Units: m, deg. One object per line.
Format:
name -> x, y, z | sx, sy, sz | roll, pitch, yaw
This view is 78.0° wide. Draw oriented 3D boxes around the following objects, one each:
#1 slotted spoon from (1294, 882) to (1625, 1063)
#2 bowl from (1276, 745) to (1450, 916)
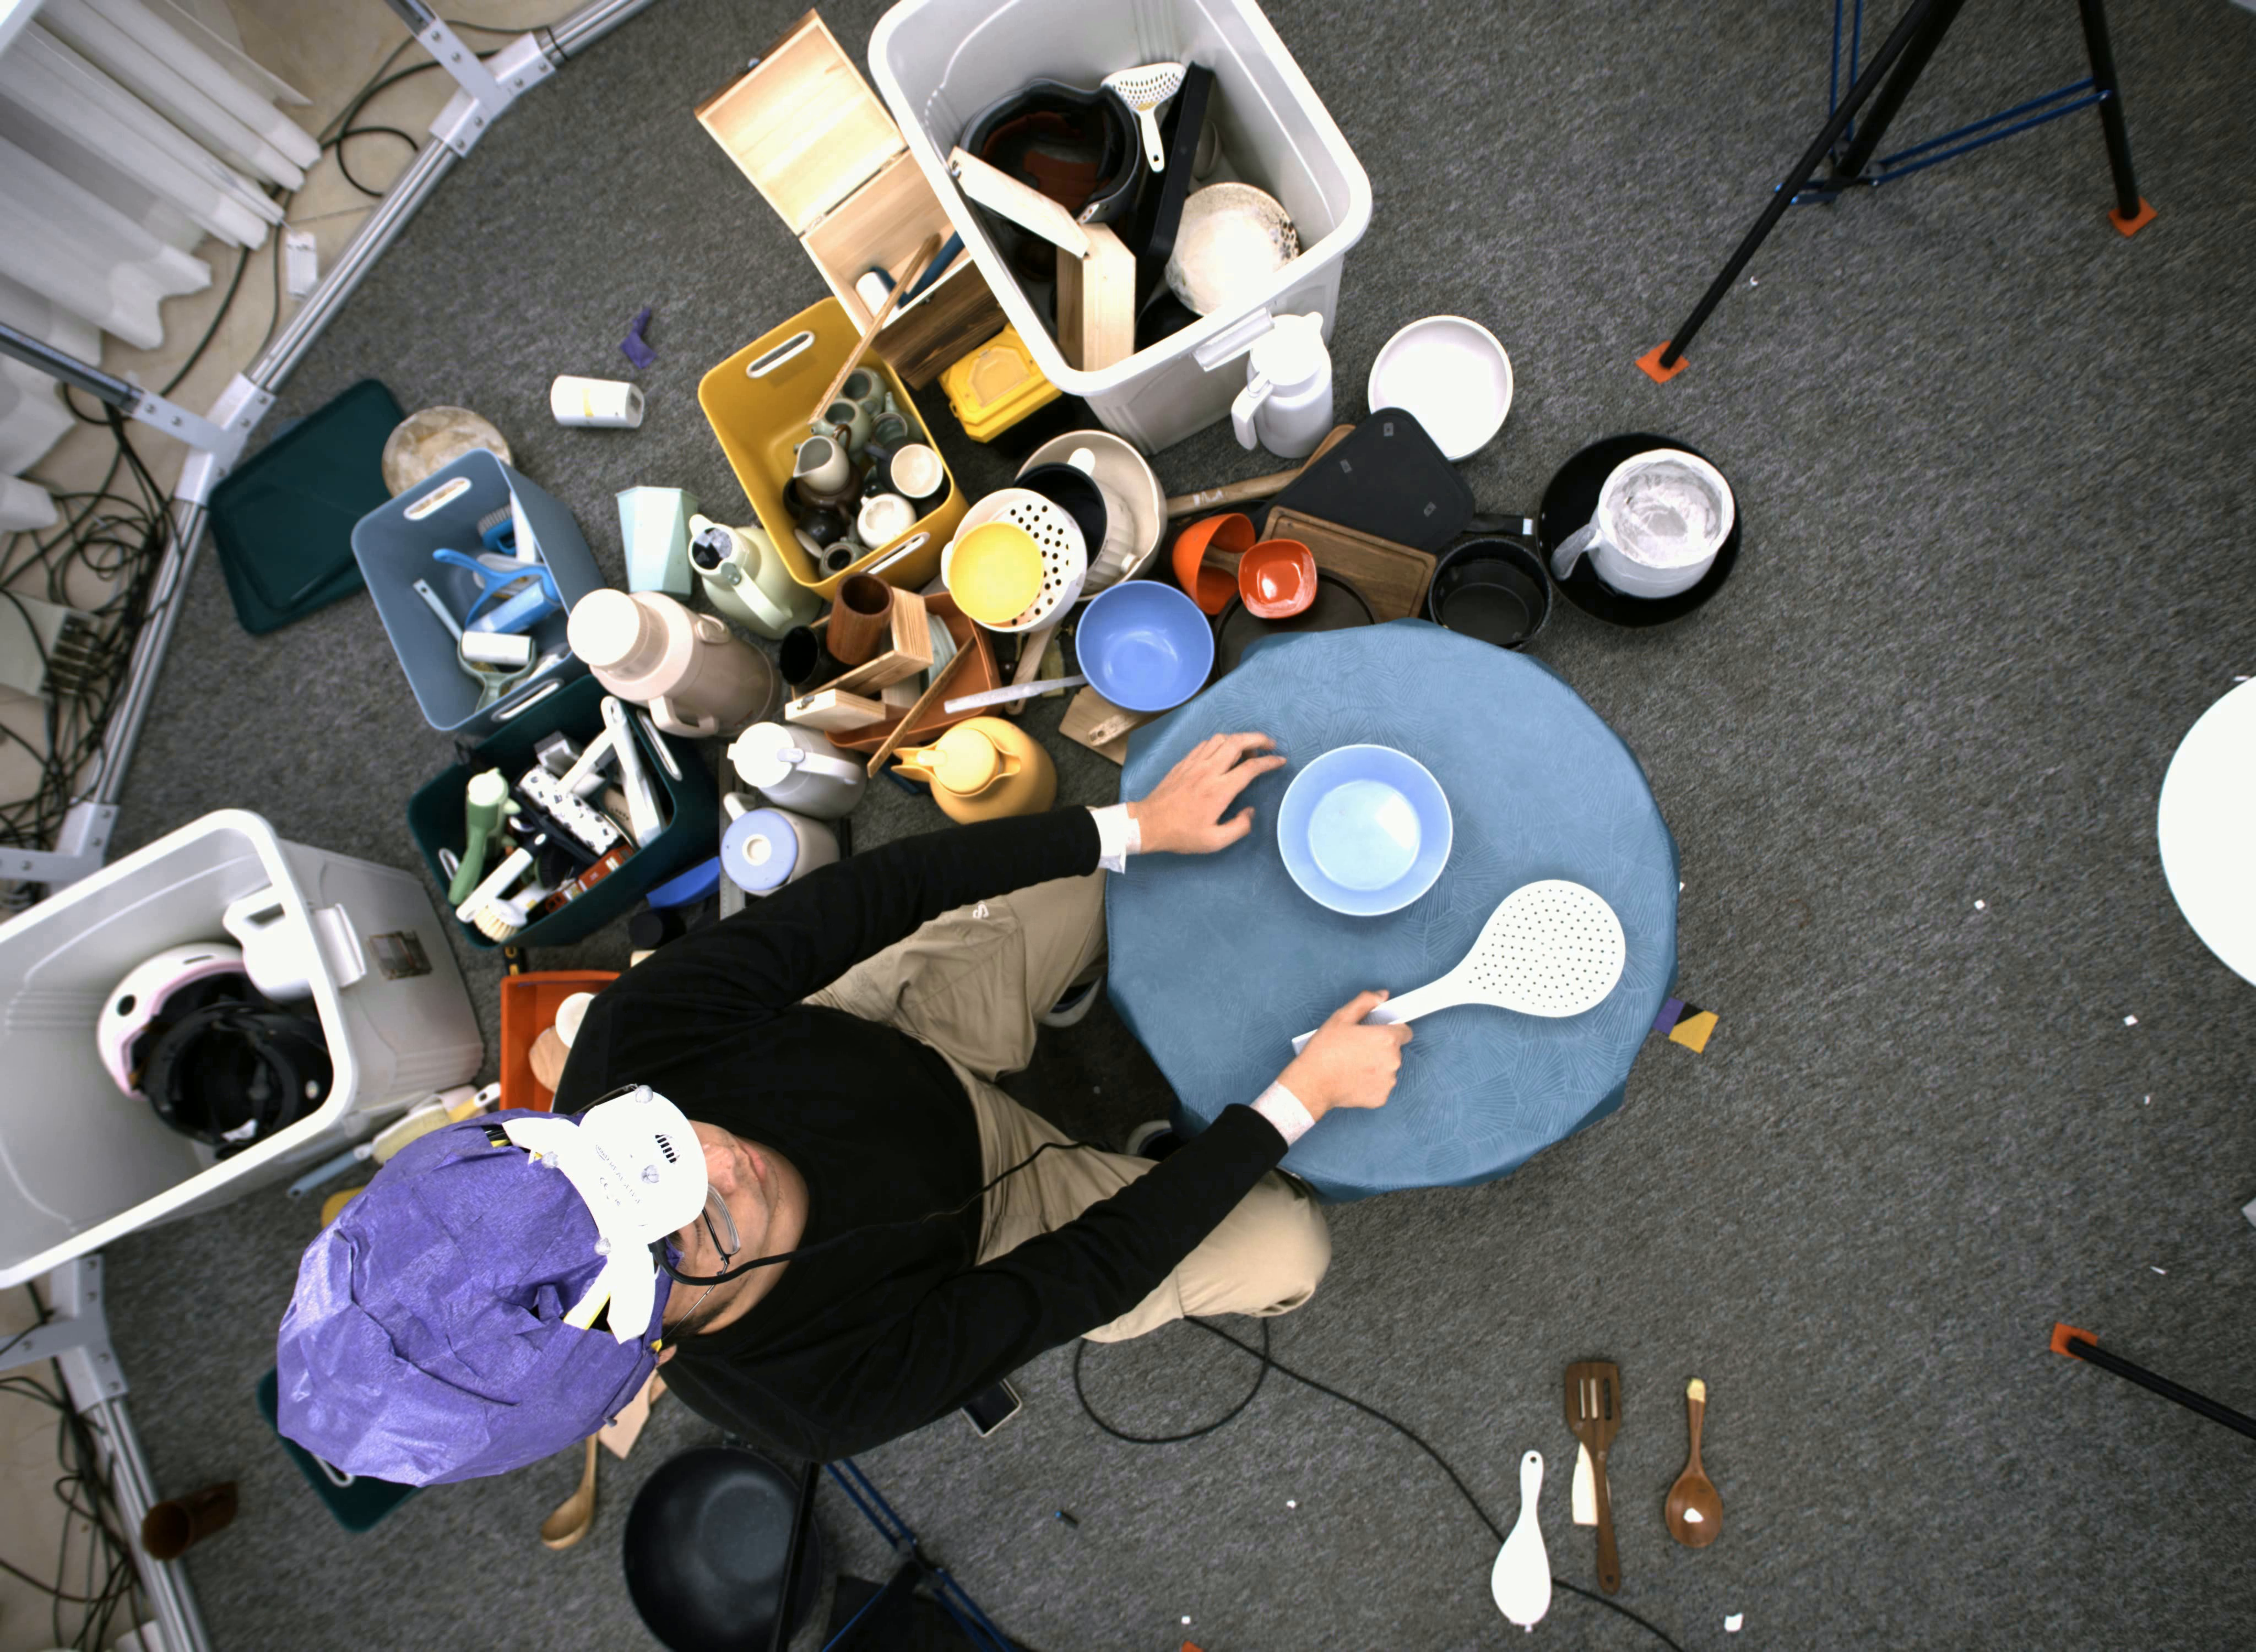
slotted spoon -> 0.335, 0.165, 1.412 | 0.351, 0.046, 0.135 | -23, 84, 5
bowl -> 0.244, 0.006, 1.433 | 0.177, 0.070, 0.175 | -1, 87, 11
